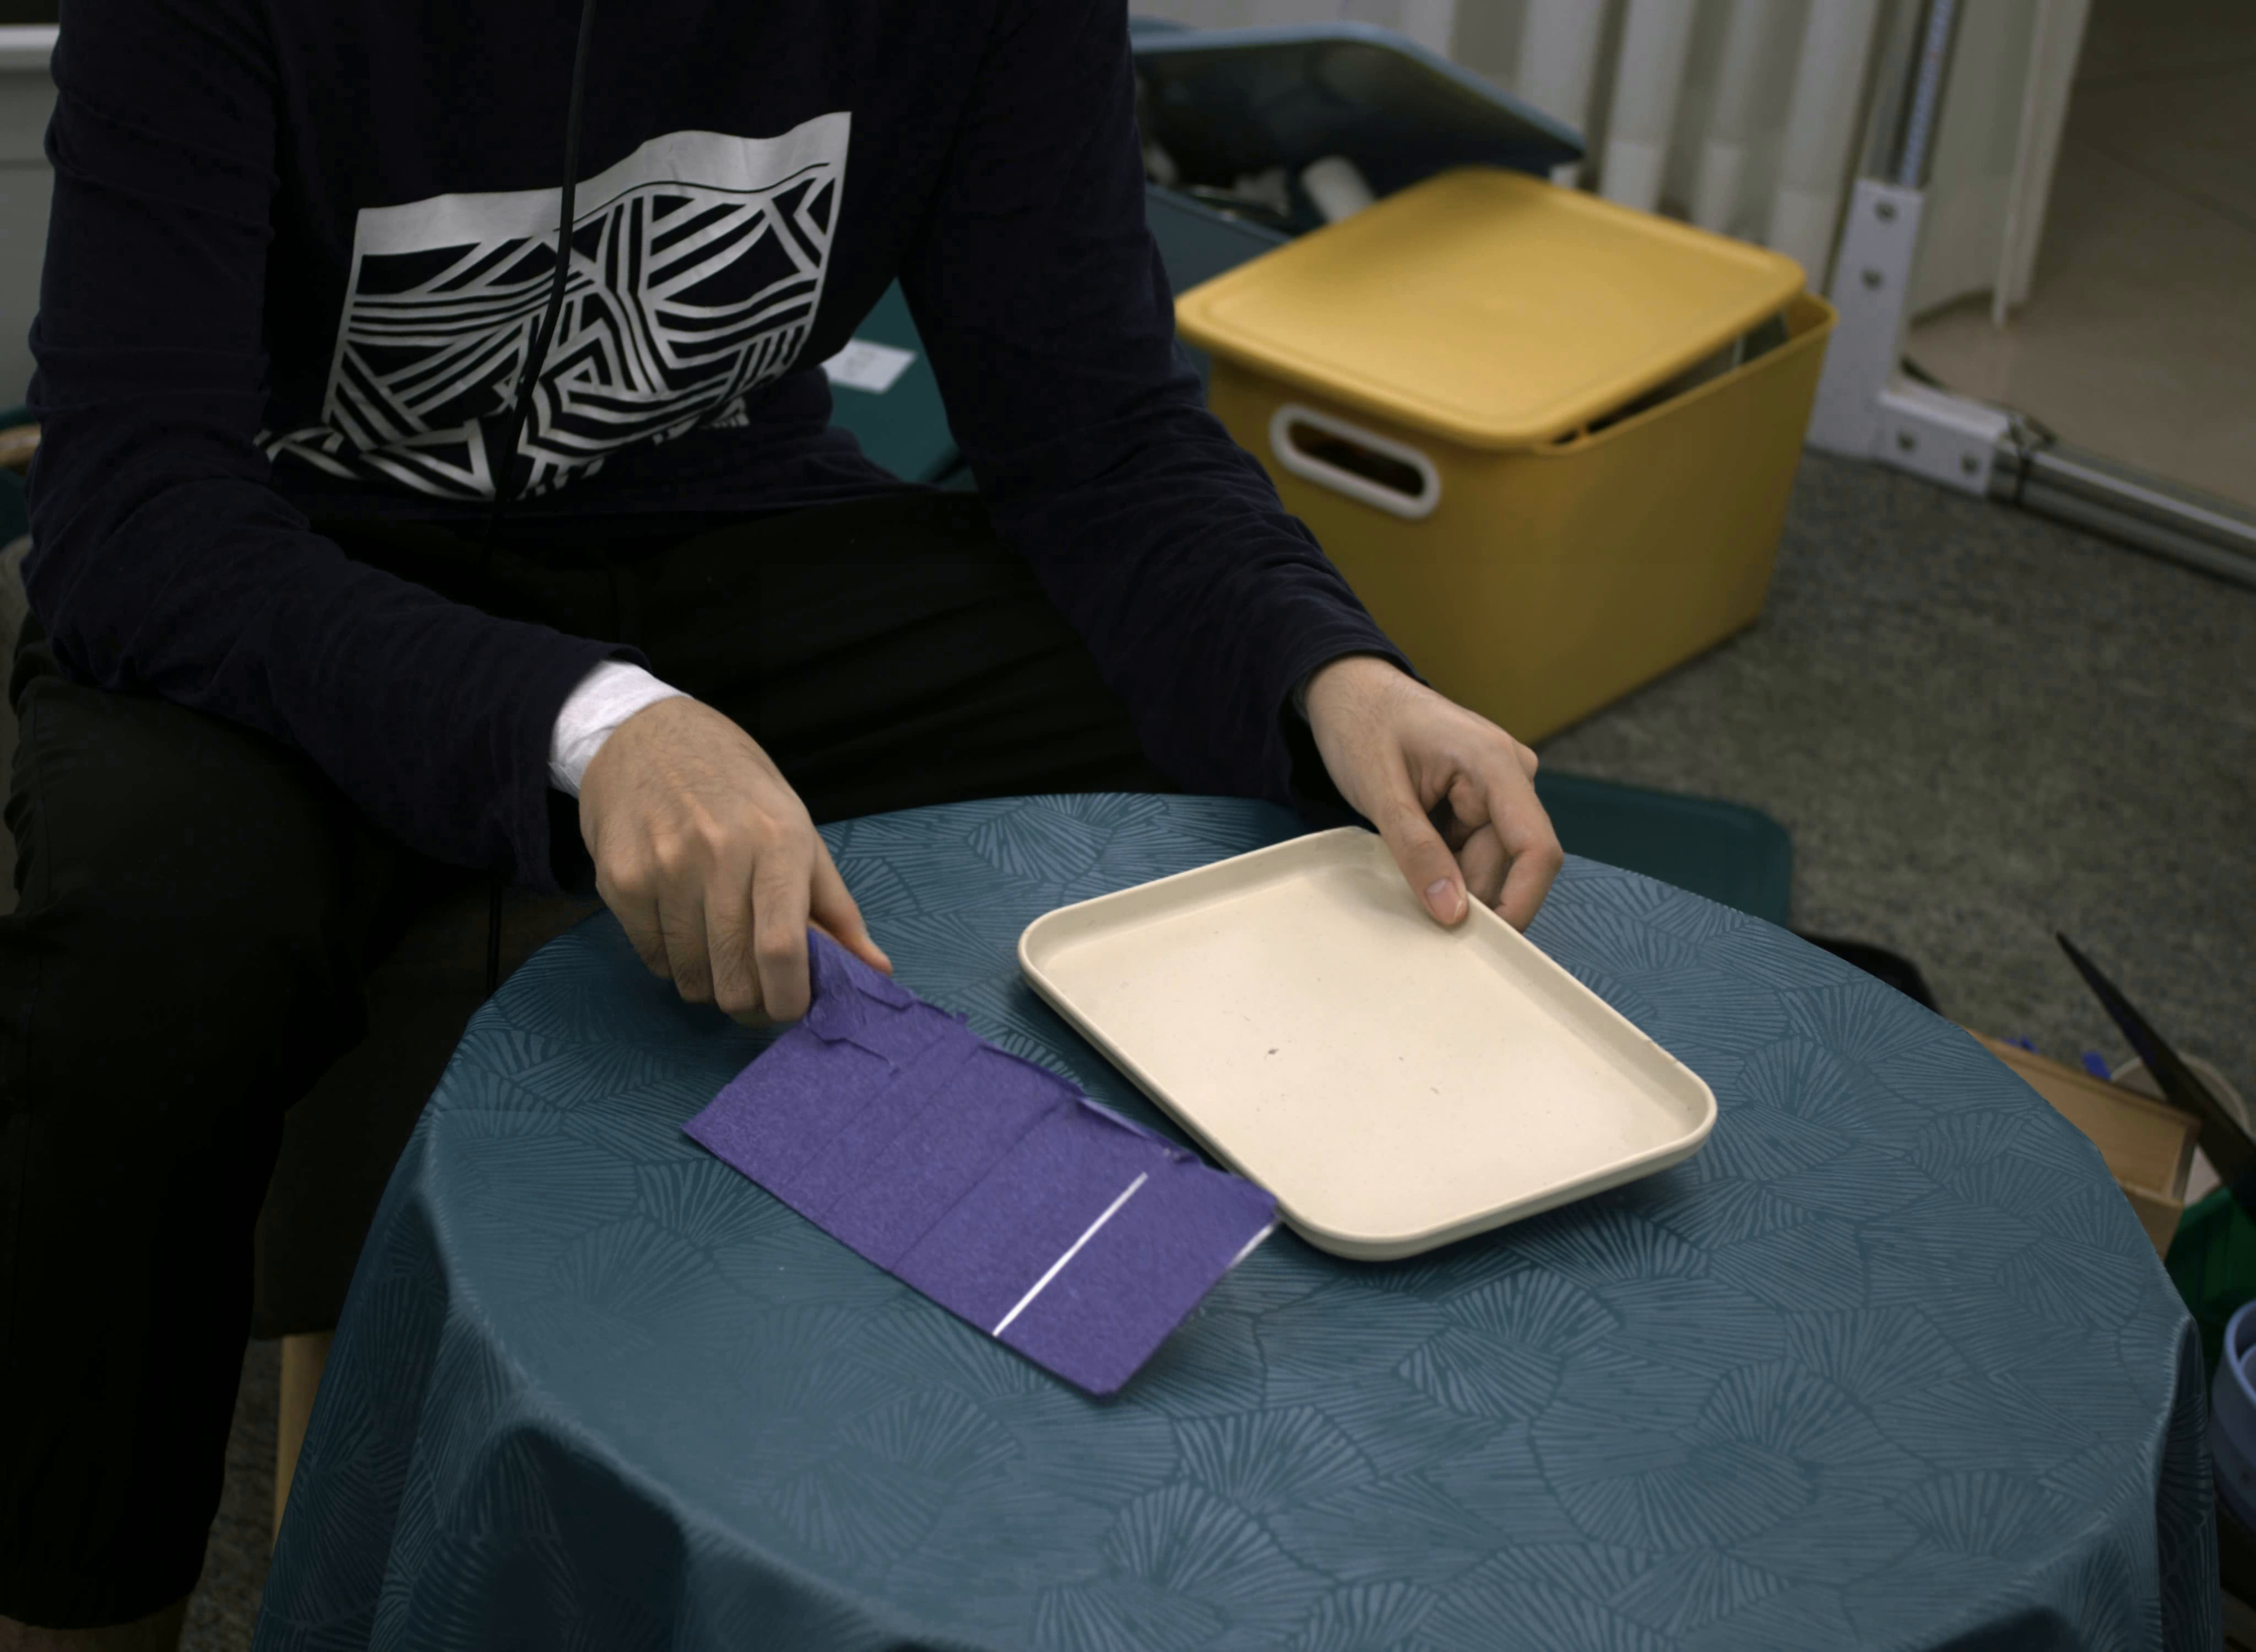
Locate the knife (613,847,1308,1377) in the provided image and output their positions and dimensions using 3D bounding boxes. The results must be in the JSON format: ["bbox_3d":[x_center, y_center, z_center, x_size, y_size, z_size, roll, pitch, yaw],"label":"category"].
[{"bbox_3d":[-0.084,0.093,1.790,0.317,0.032,0.104,26,57,39],"label":"knife"}]

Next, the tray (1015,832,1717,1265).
[{"bbox_3d":[0.081,0.077,1.881,0.170,0.017,0.242,-17,34,-26],"label":"tray"}]
